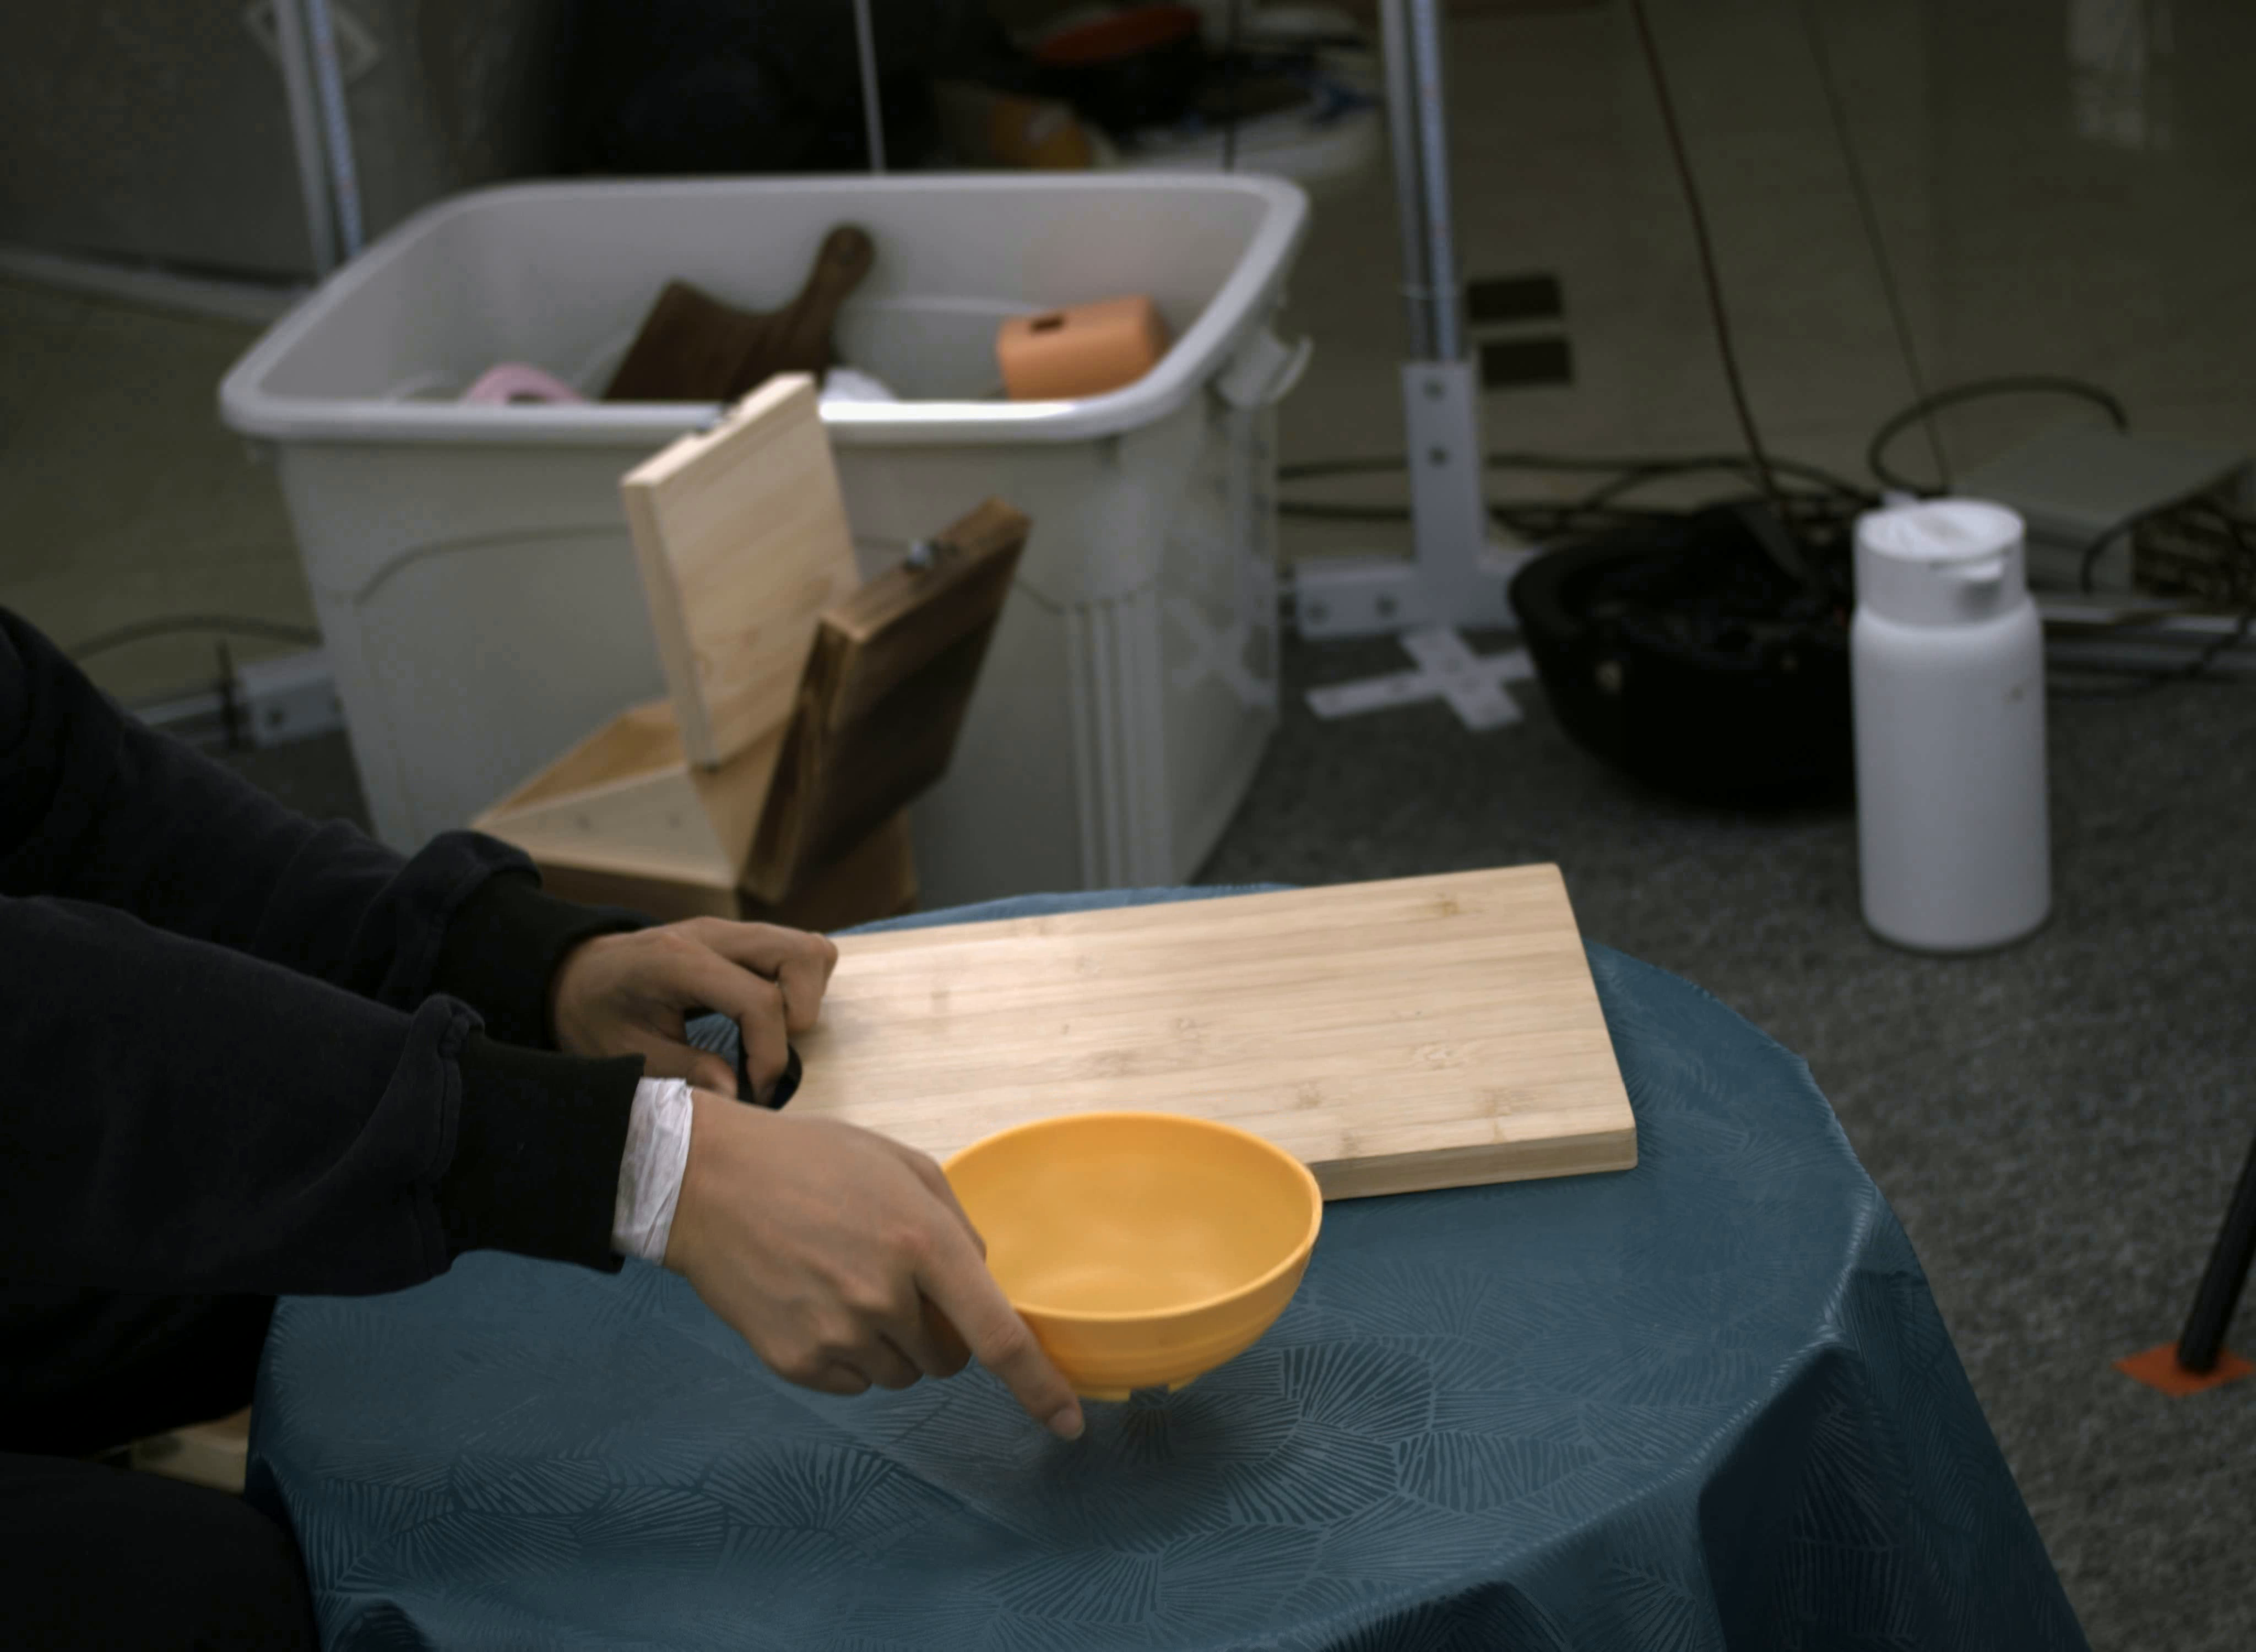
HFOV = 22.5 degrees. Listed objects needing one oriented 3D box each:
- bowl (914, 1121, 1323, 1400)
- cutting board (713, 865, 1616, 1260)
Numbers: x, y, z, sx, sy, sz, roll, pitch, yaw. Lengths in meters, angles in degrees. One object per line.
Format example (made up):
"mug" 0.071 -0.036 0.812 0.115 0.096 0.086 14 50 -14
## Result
"bowl" -0.002 0.160 1.996 0.145 0.061 0.143 -3 24 1
"cutting board" 0.010 0.090 2.230 0.348 0.024 0.247 -6 24 -2
